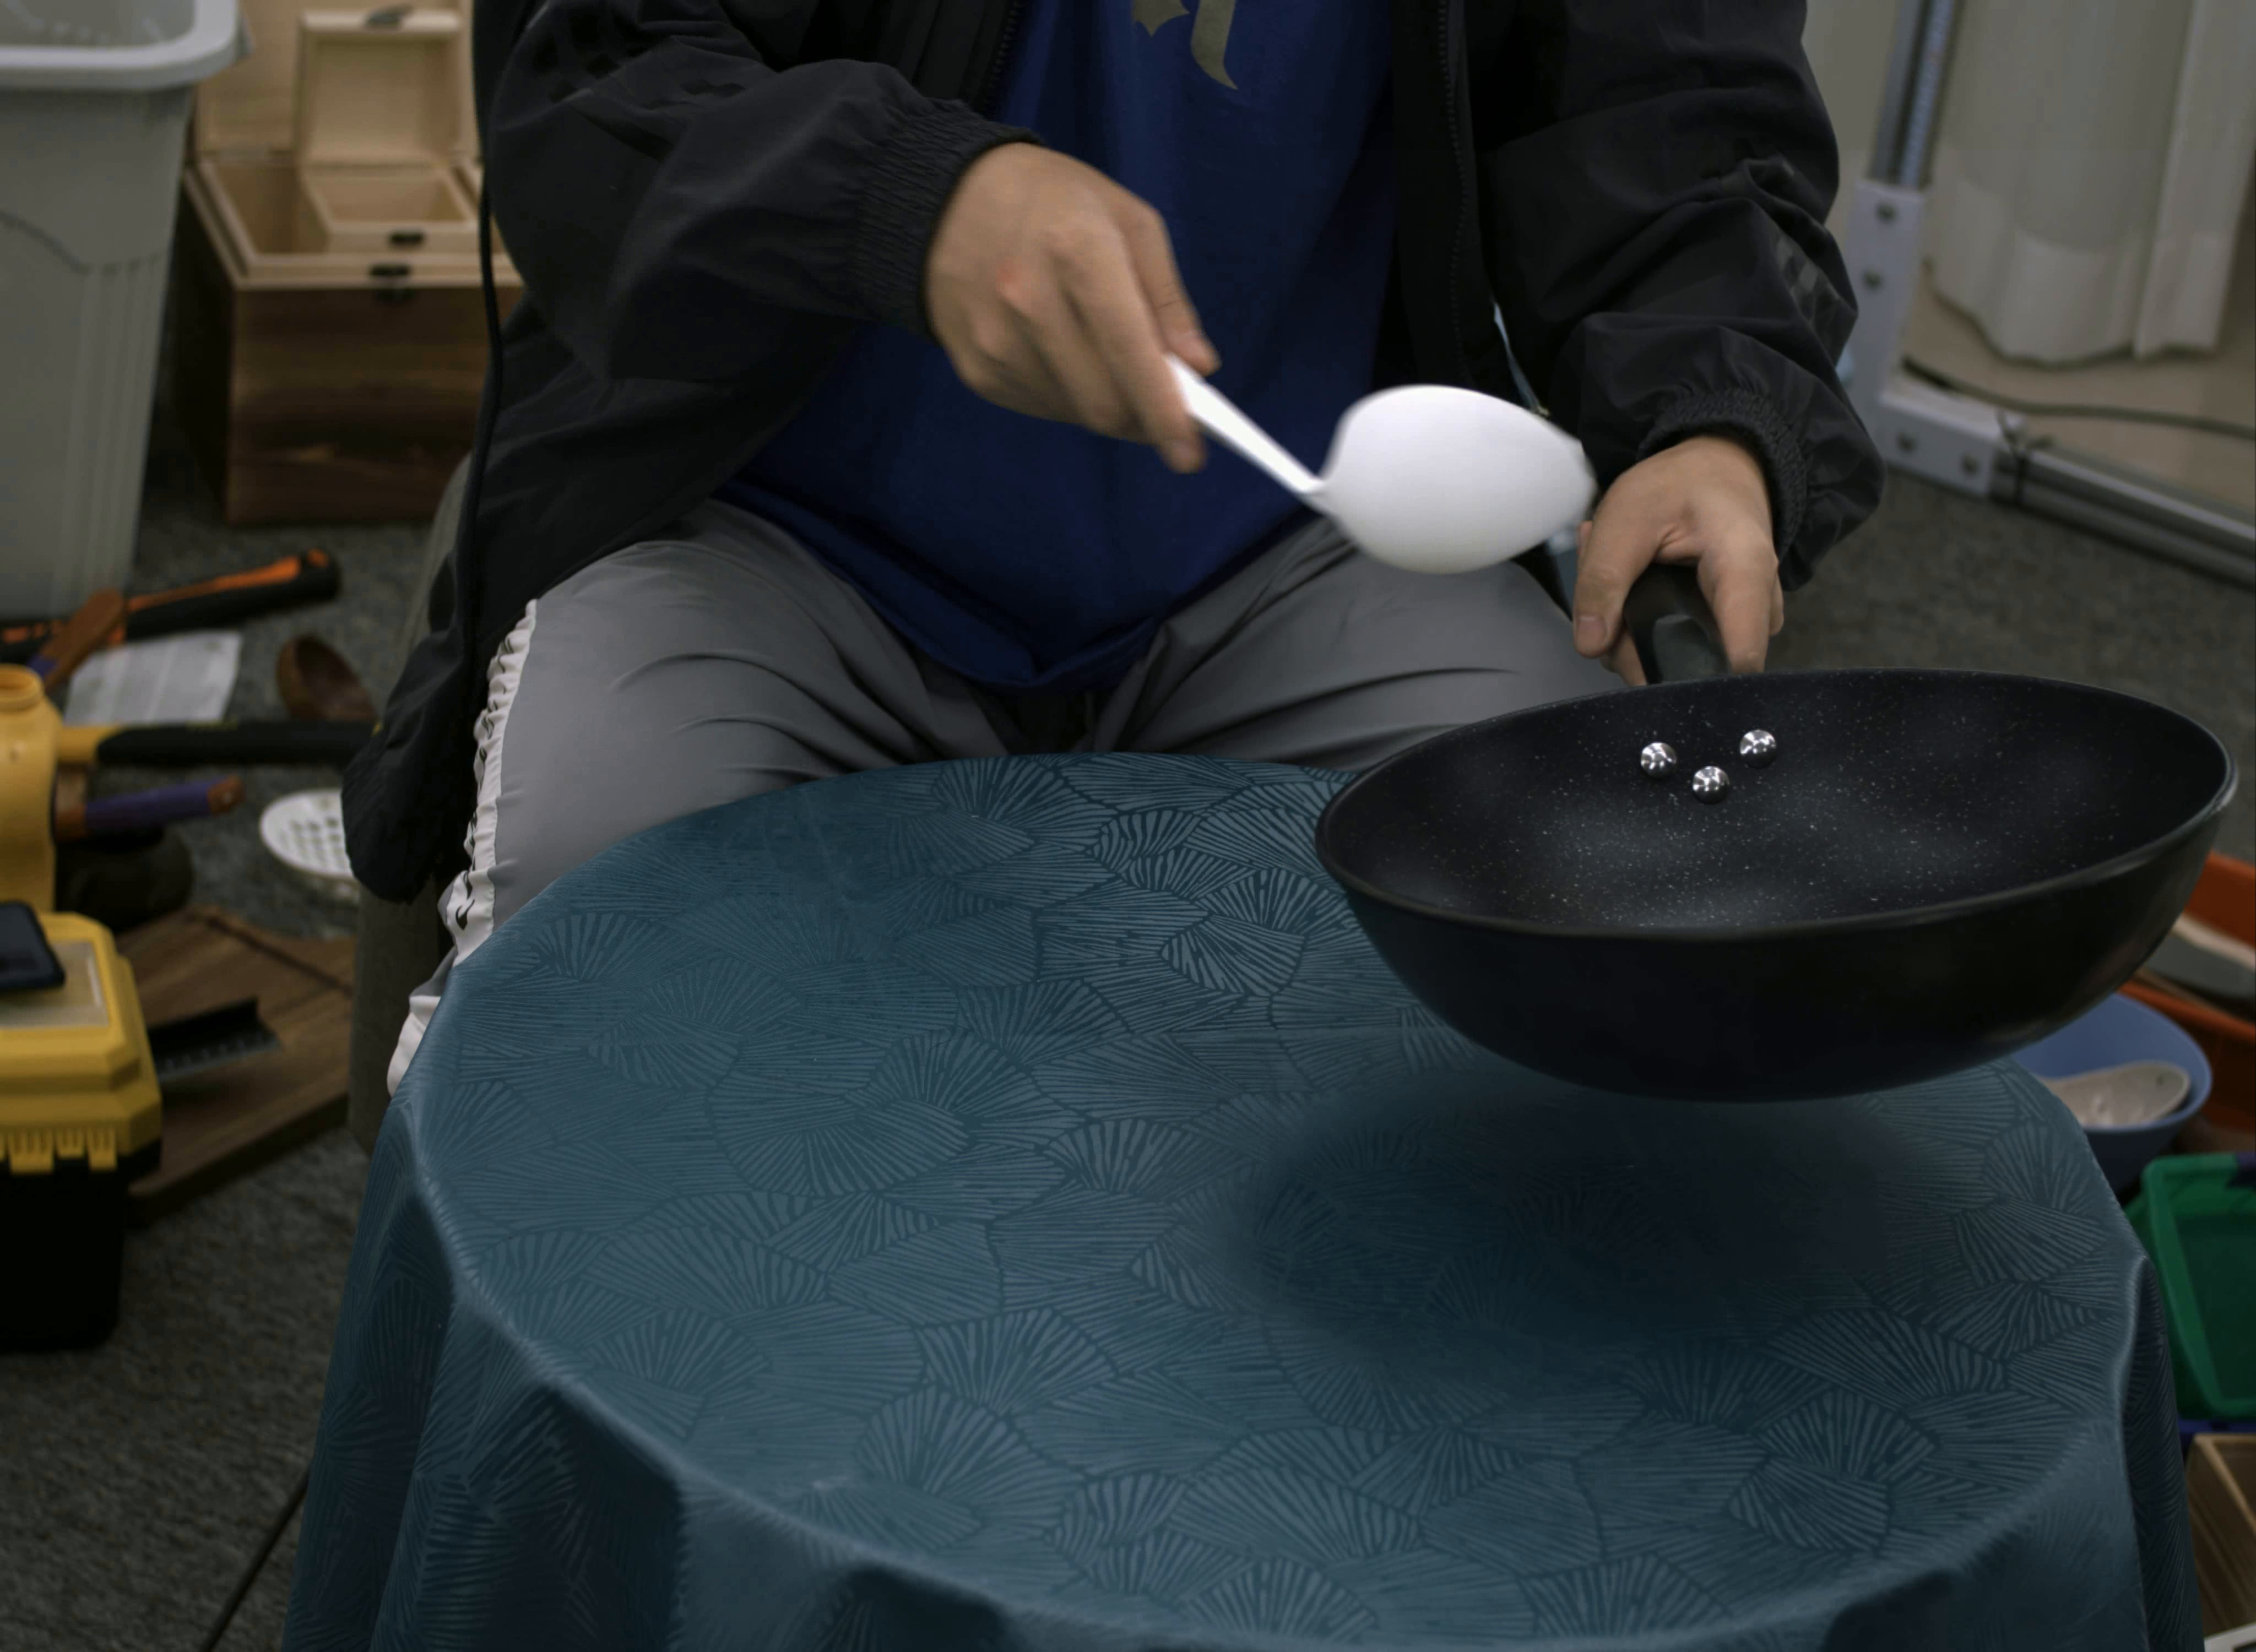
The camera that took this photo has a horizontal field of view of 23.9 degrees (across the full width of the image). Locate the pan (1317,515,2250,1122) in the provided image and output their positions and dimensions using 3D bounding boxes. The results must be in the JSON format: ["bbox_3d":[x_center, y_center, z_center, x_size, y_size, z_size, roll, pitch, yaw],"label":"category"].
[{"bbox_3d":[0.214,-0.002,1.866,0.309,0.111,0.479,-5,16,-2],"label":"pan"}]

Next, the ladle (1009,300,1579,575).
[{"bbox_3d":[0.047,-0.150,1.864,0.089,0.070,0.295,17,10,-34],"label":"ladle"}]
